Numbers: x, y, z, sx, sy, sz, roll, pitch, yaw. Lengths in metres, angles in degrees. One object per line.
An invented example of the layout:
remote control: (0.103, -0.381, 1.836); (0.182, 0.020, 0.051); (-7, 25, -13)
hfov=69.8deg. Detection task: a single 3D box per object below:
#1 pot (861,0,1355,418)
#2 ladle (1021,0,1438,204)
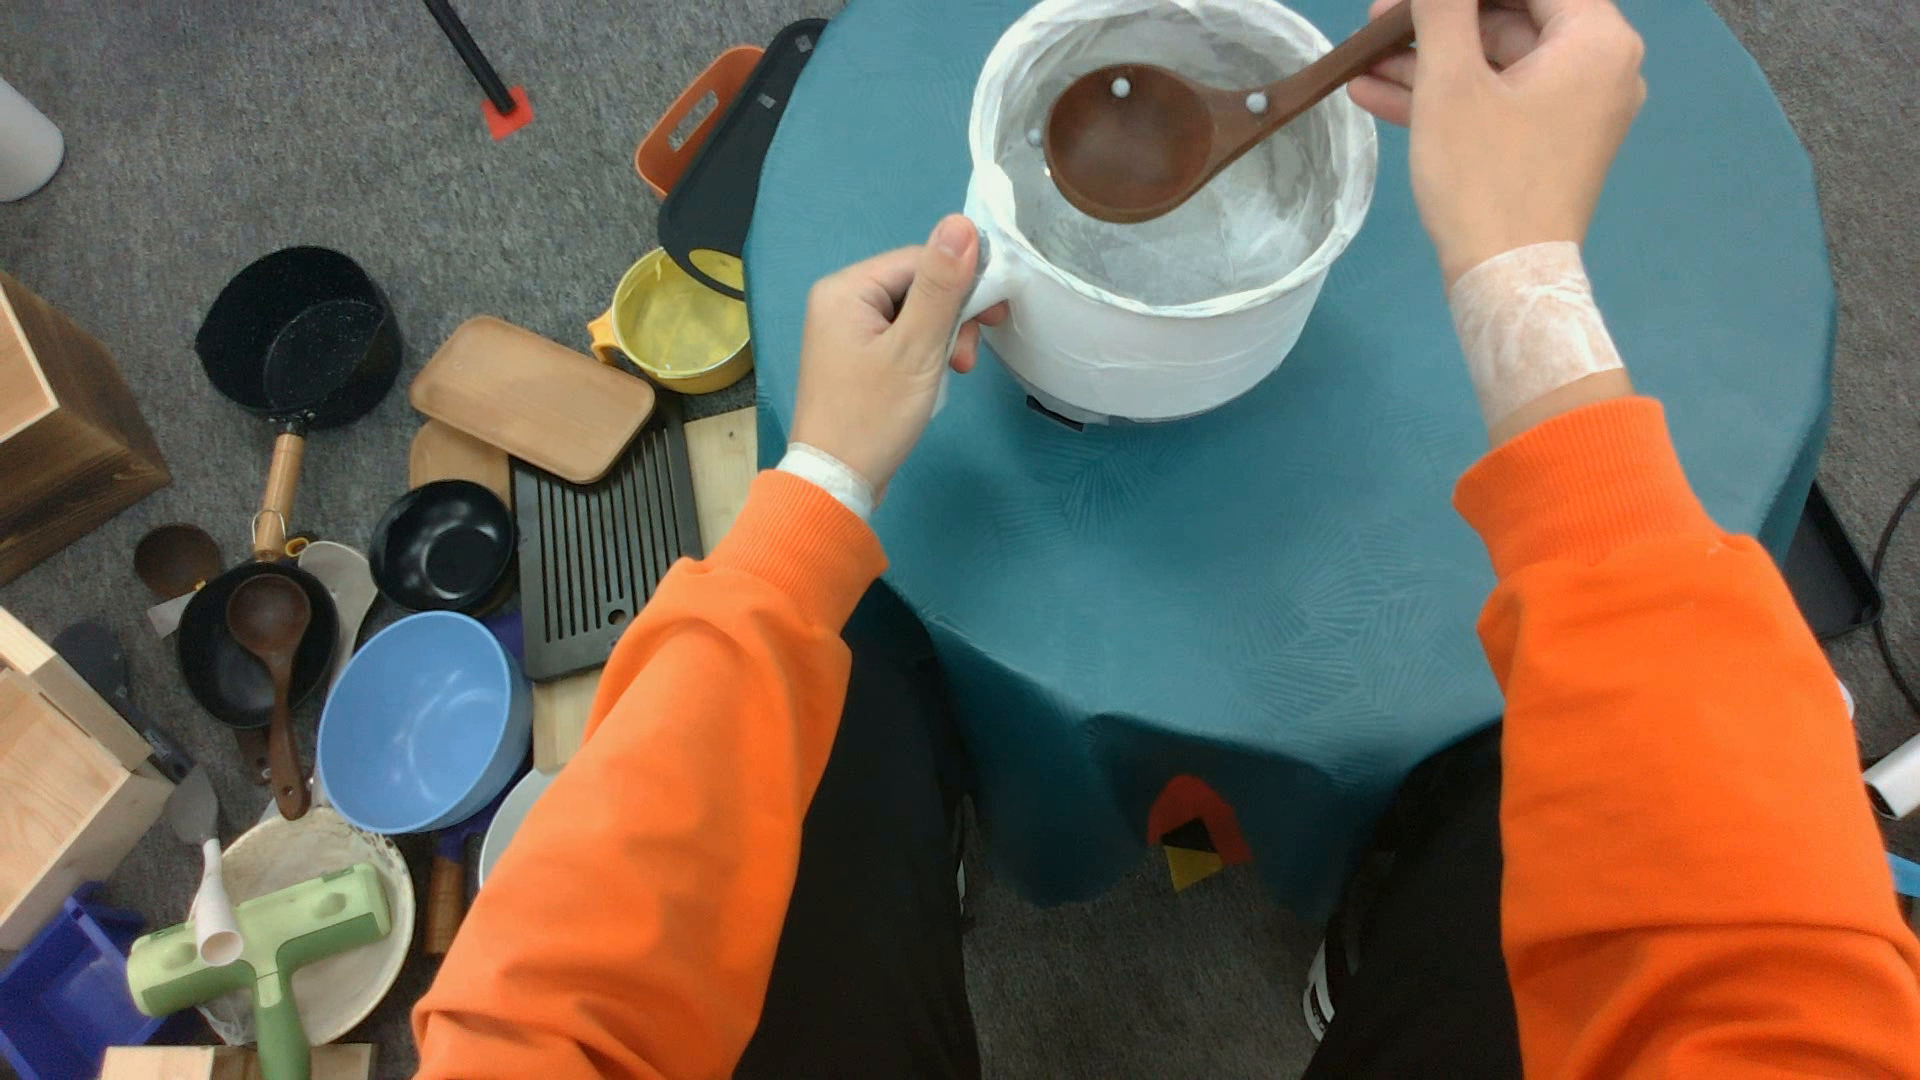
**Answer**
pot: (0.058, -0.146, 0.650); (0.234, 0.136, 0.179); (-32, 73, -14)
ladle: (0.139, -0.204, 0.538); (0.259, 0.065, 0.076); (-17, 75, 38)
